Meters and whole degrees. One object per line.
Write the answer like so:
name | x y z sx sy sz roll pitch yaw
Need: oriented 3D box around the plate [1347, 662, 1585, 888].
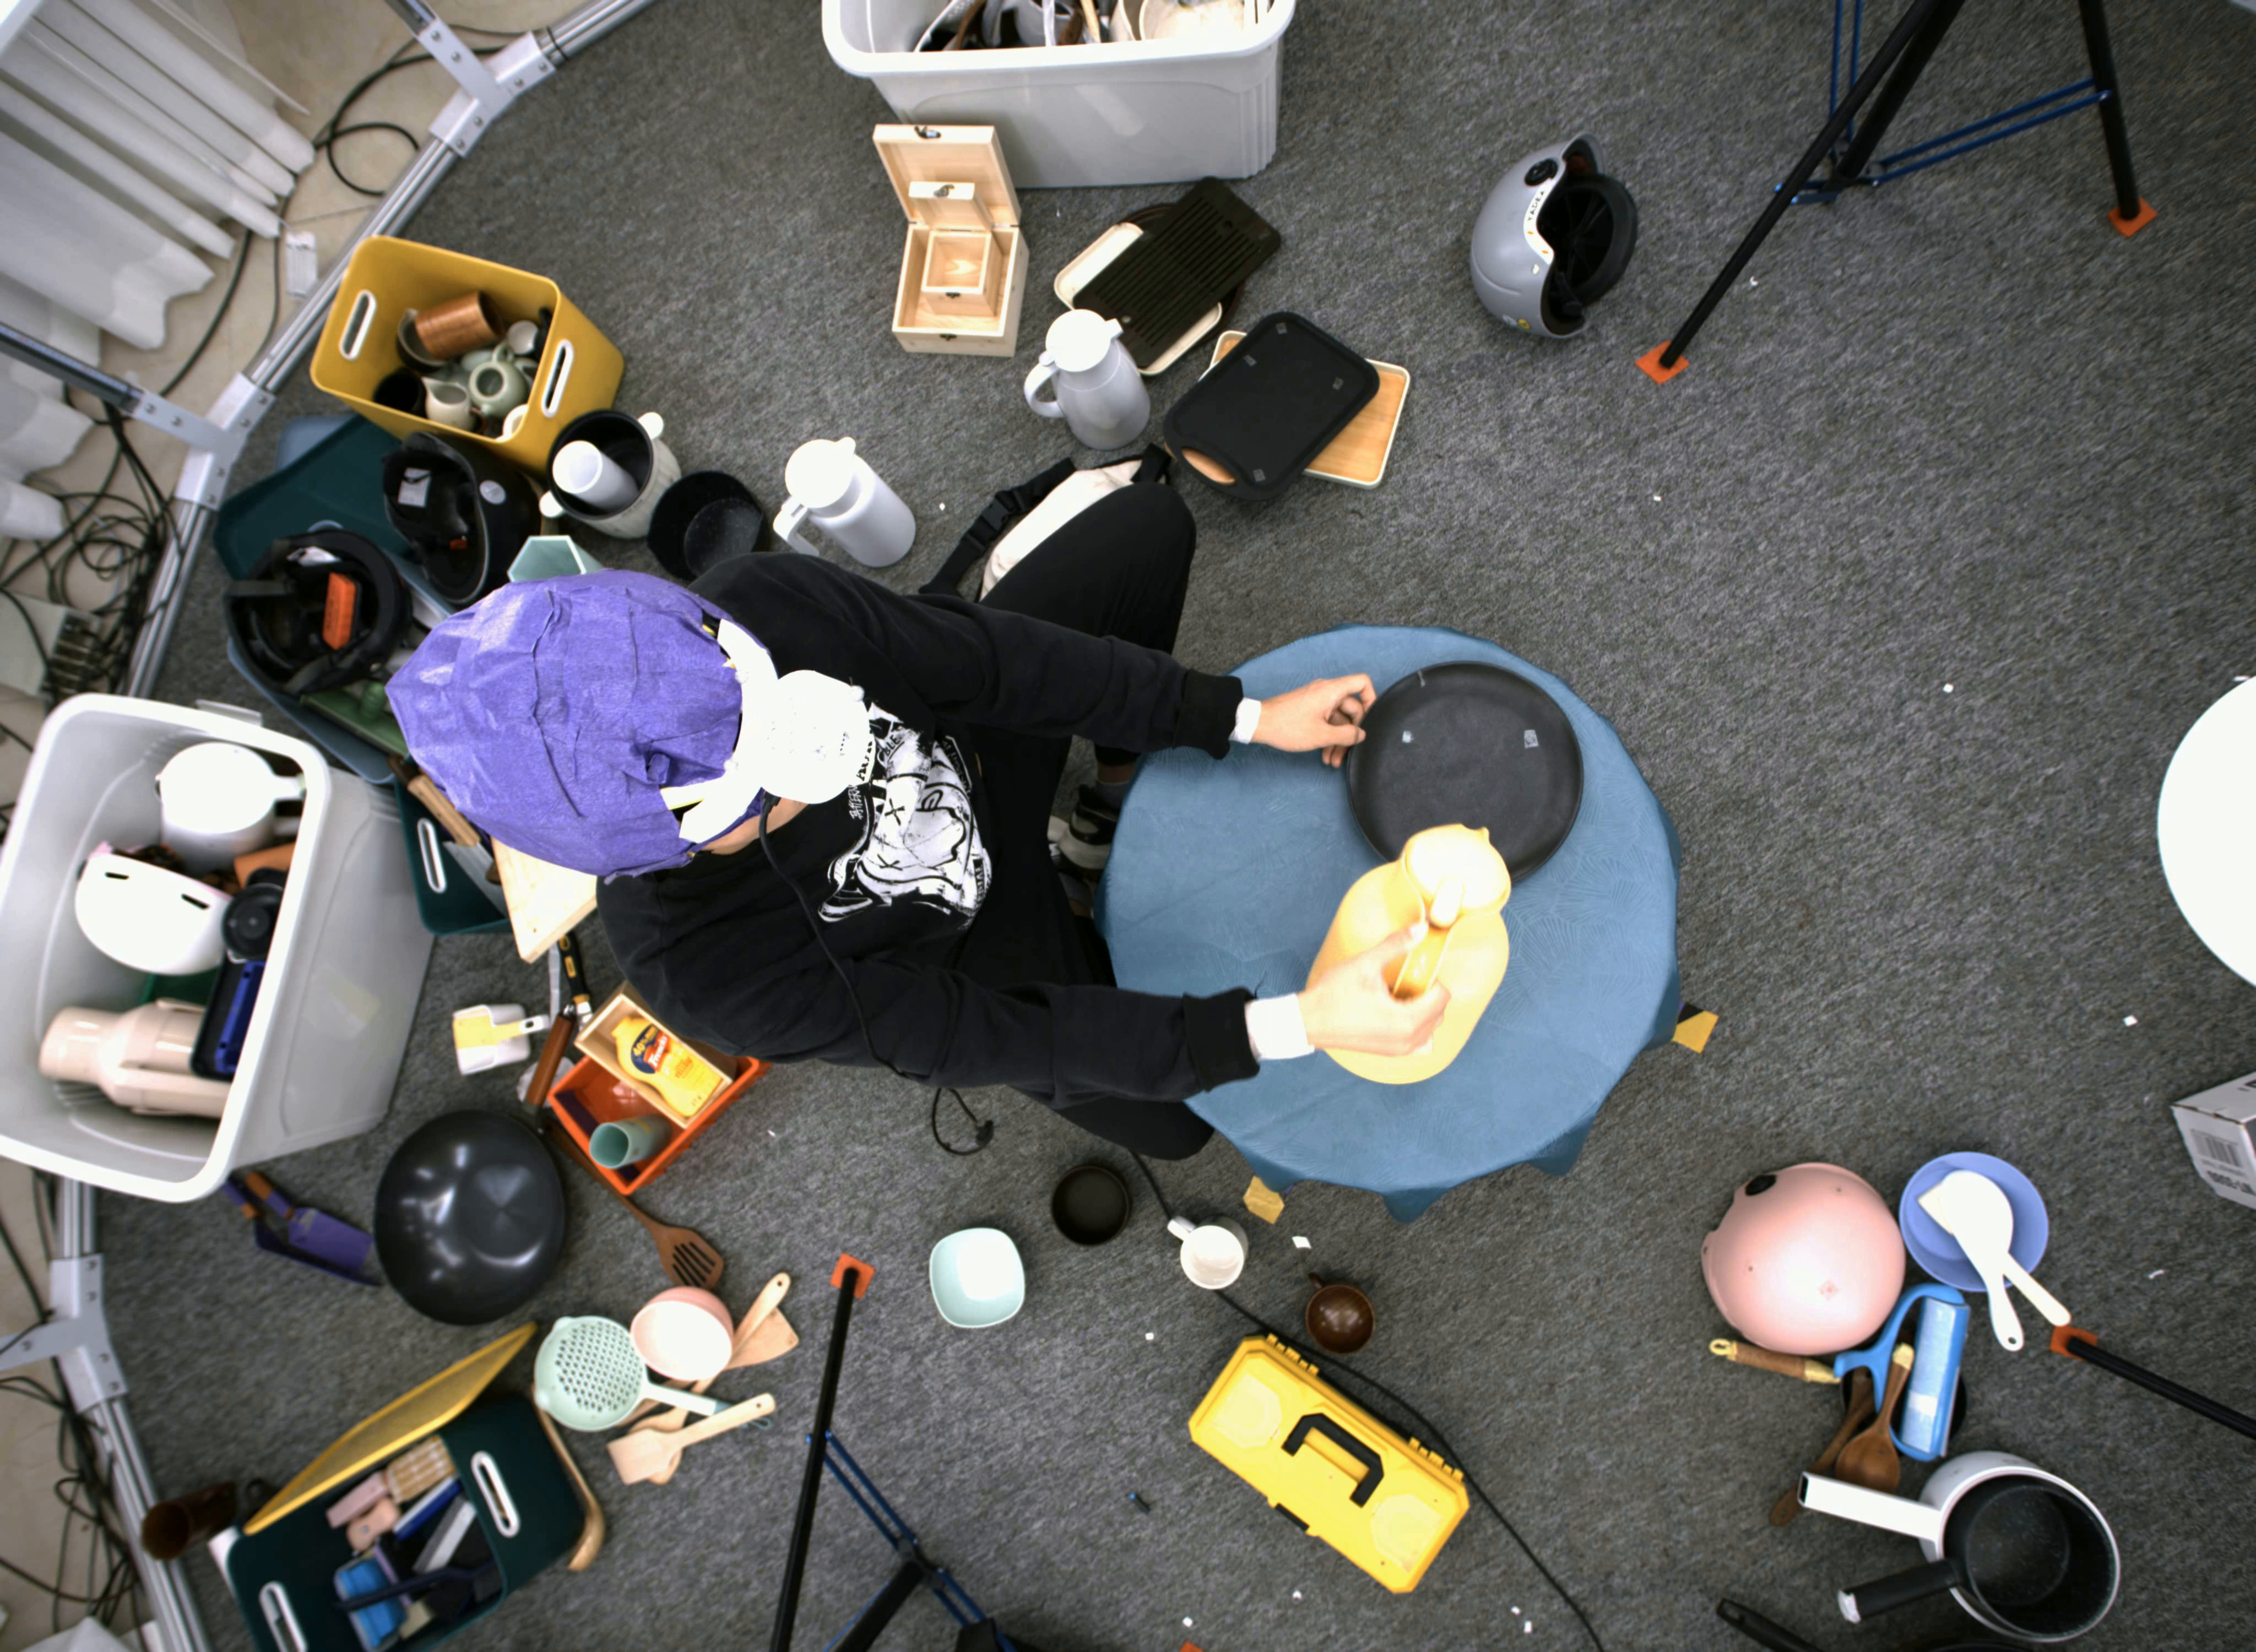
plate | 0.351 -0.052 1.434 0.245 0.023 0.244 0 89 8

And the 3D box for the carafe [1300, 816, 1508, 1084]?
carafe | 0.255 0.124 1.269 0.163 0.267 0.197 24 48 11
